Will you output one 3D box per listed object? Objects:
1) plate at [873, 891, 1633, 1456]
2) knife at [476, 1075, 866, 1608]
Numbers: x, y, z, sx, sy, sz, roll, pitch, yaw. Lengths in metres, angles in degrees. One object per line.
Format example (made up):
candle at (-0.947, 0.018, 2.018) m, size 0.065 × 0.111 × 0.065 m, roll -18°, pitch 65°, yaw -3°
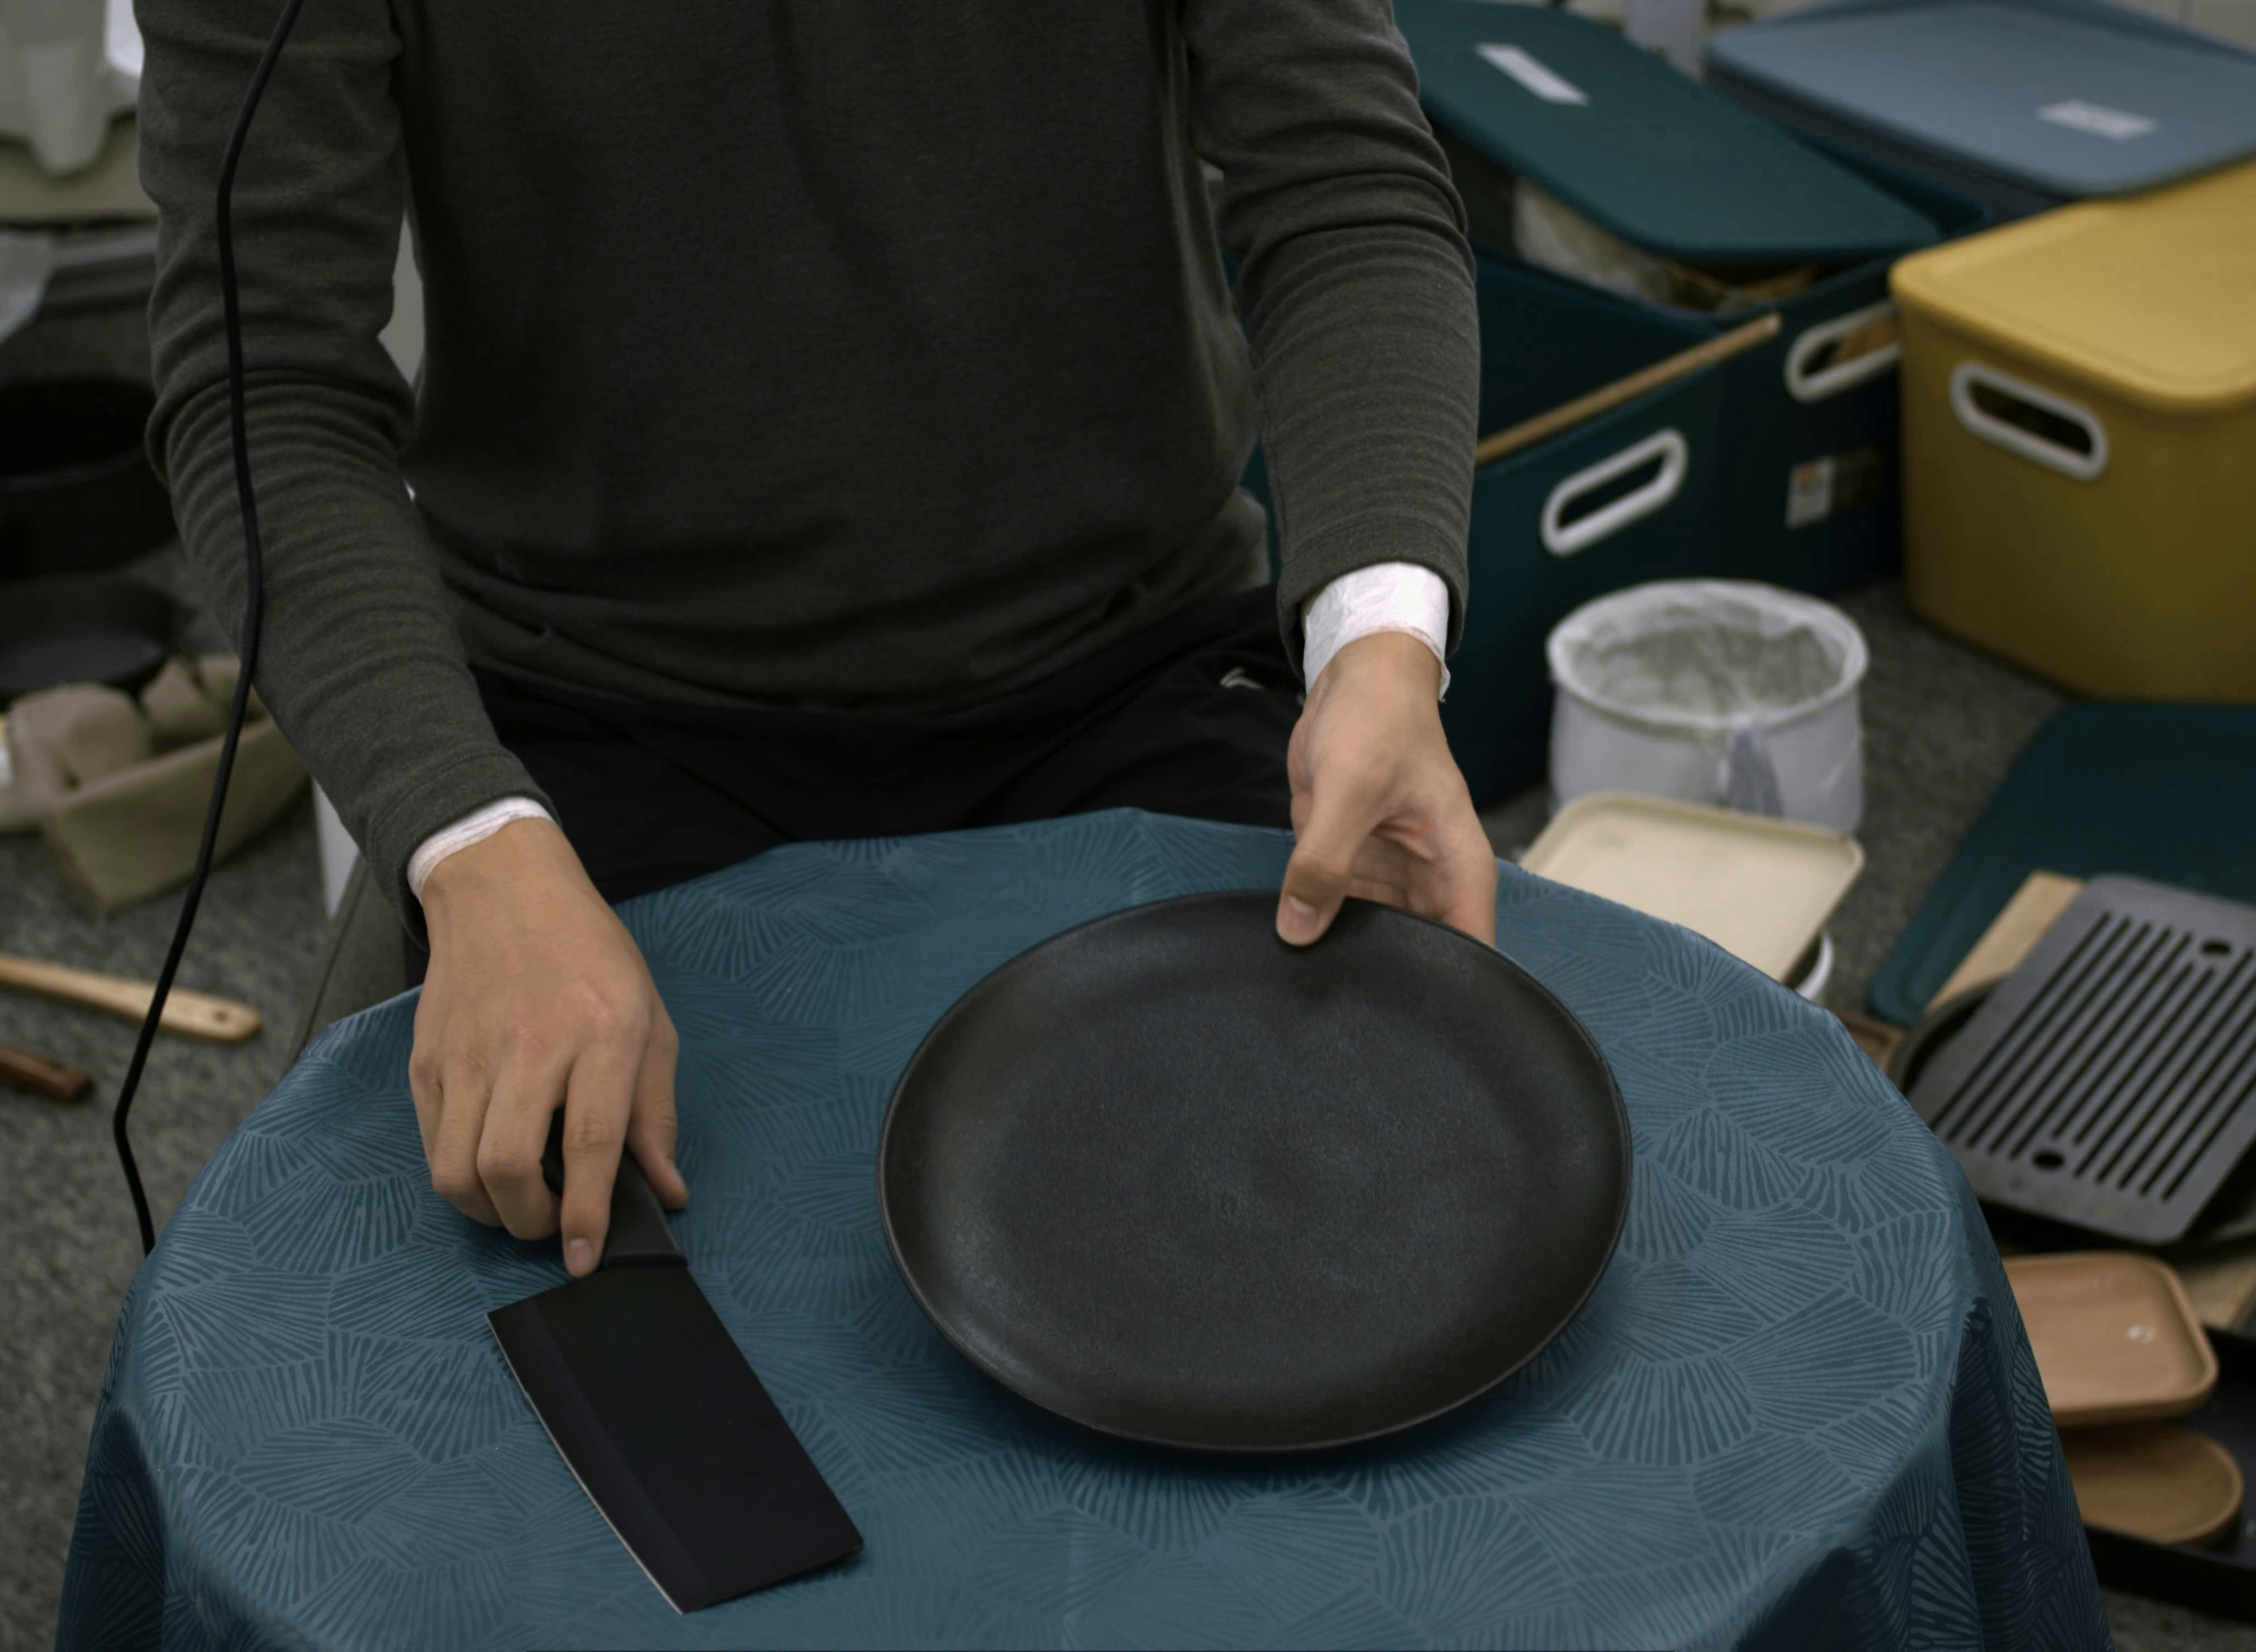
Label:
plate at (0.040, 0.113, 1.798) m, size 0.243 × 0.023 × 0.249 m, roll -1°, pitch 43°, yaw 2°
knife at (-0.161, 0.160, 1.788) m, size 0.081 × 0.020 × 0.305 m, roll -14°, pitch 31°, yaw -13°
